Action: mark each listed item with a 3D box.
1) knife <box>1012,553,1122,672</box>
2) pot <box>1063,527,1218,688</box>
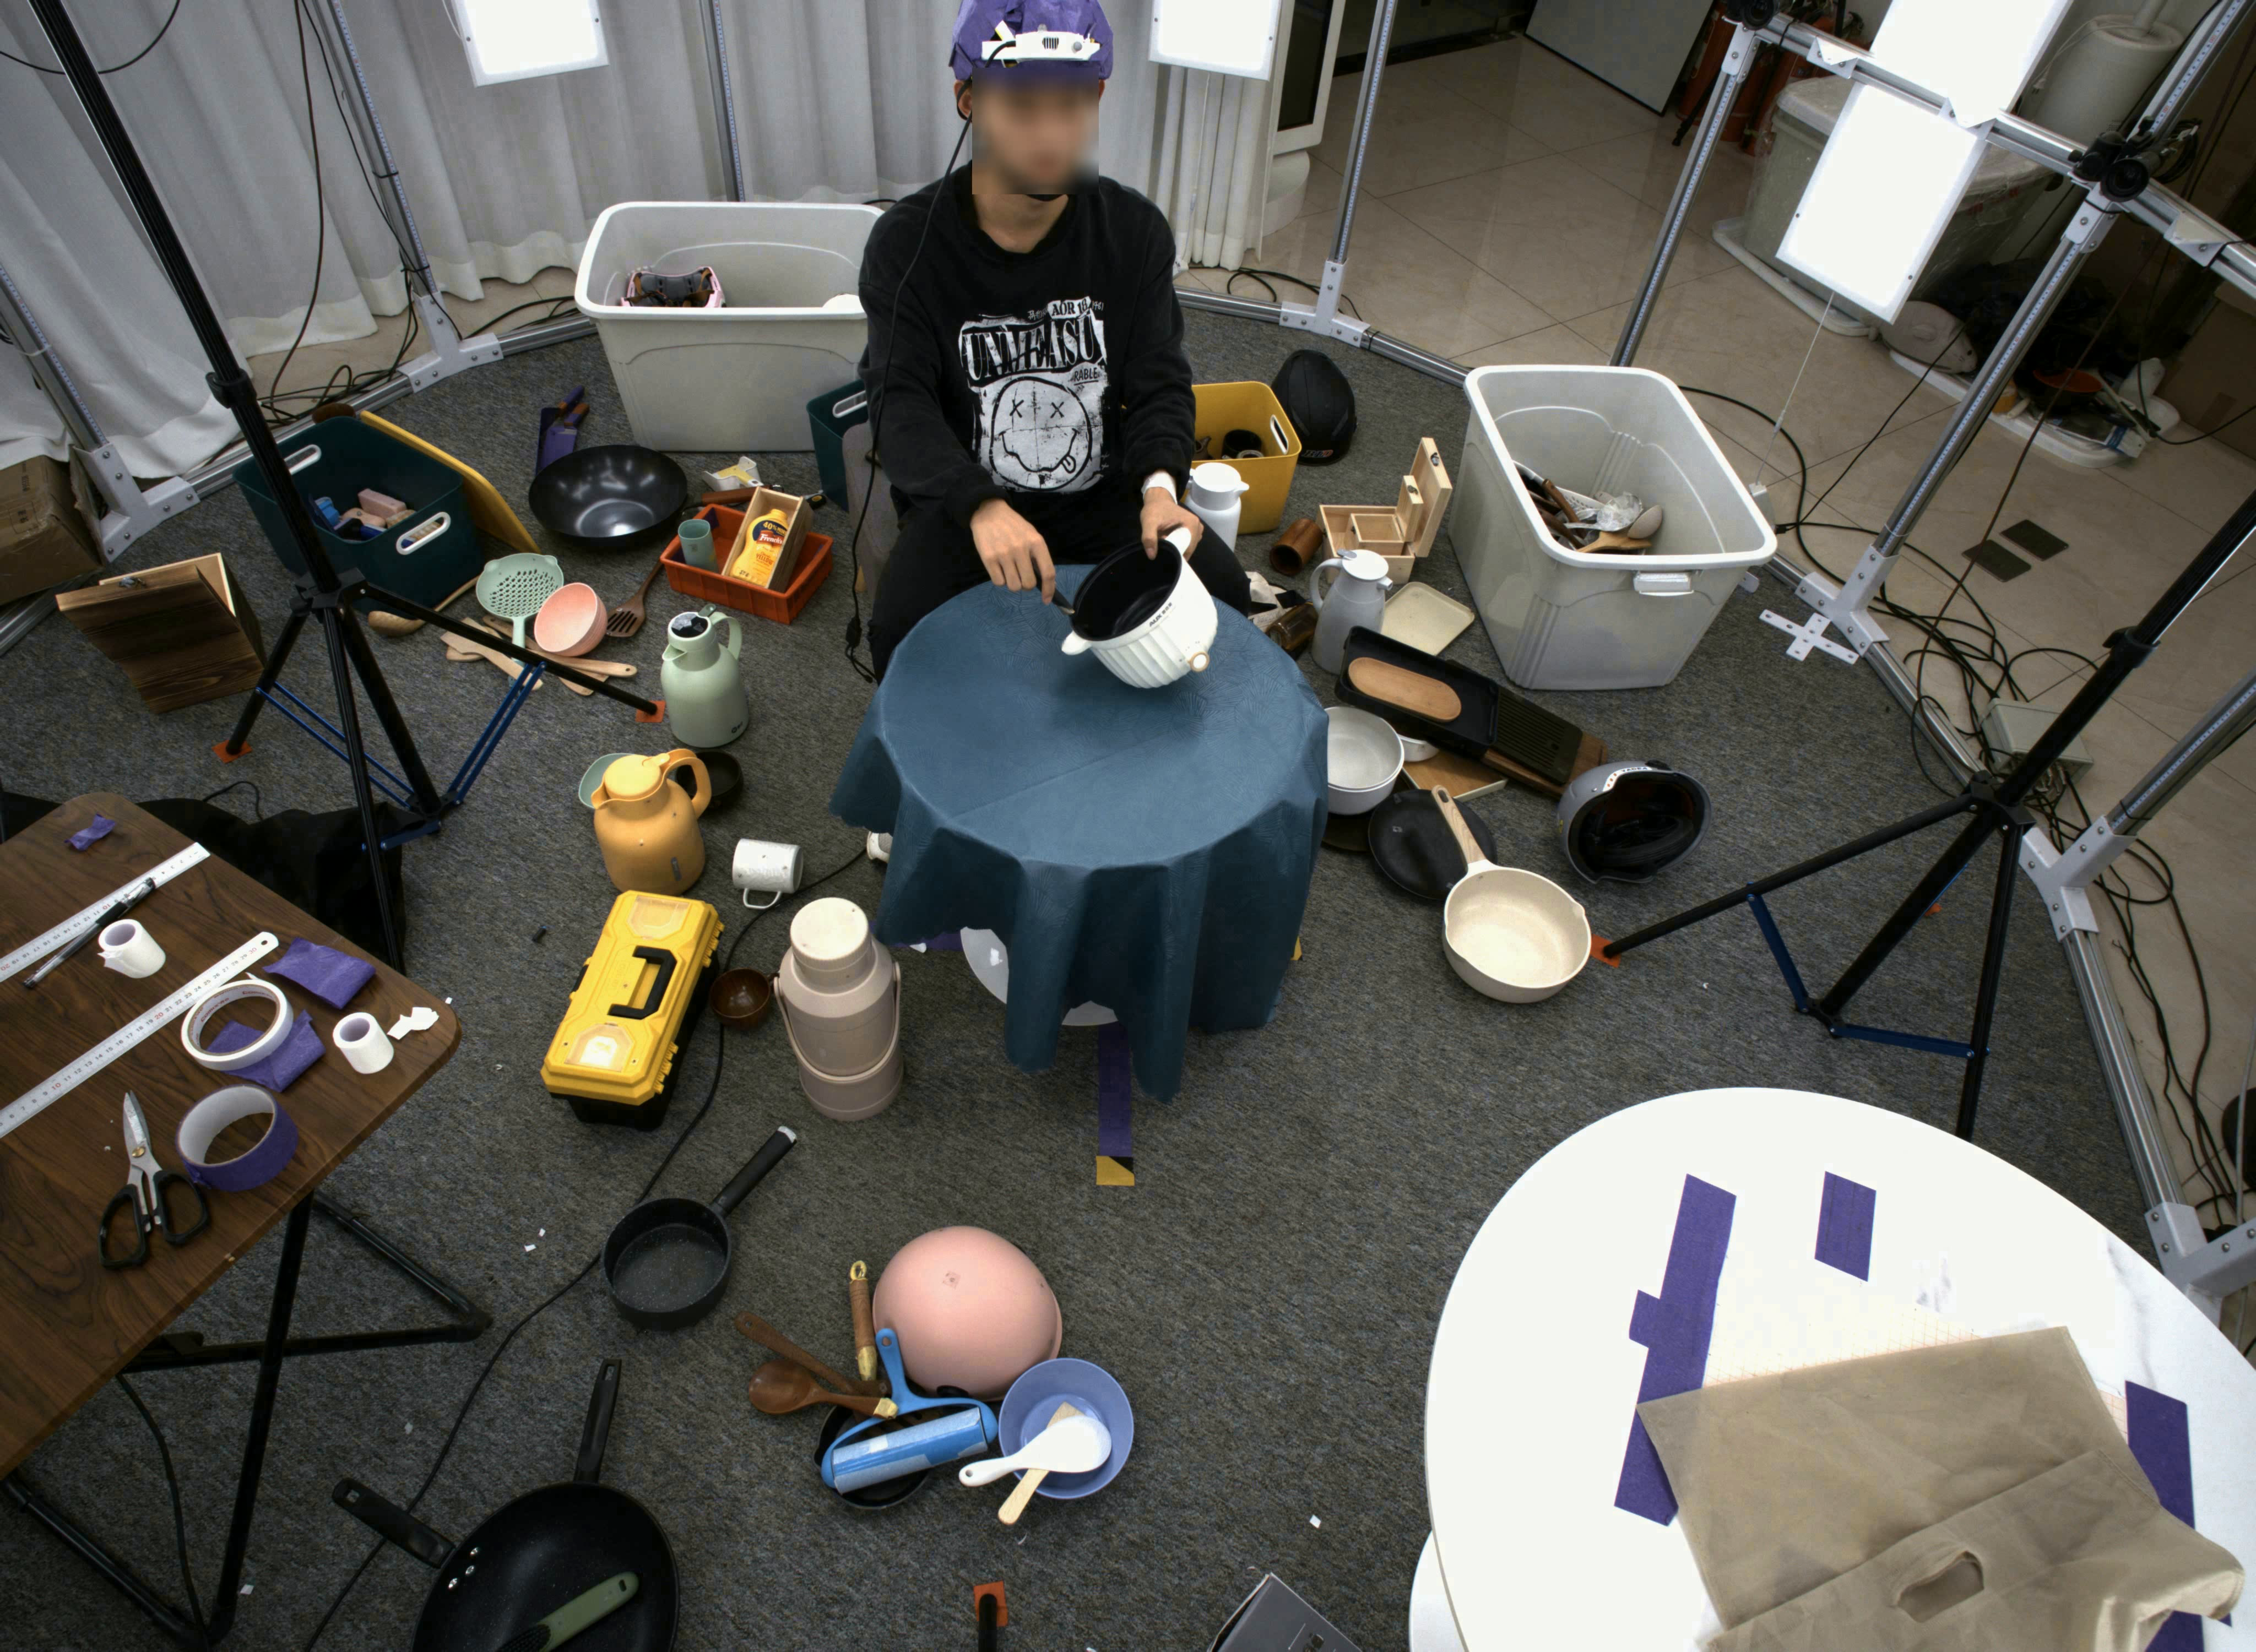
[{"bbox_3d":[-0.077,-0.285,1.728,0.026,0.222,0.017,-25,34,35],"label":"knife"},{"bbox_3d":[0.033,-0.290,1.800,0.240,0.140,0.194,-47,36,-2],"label":"pot"}]
